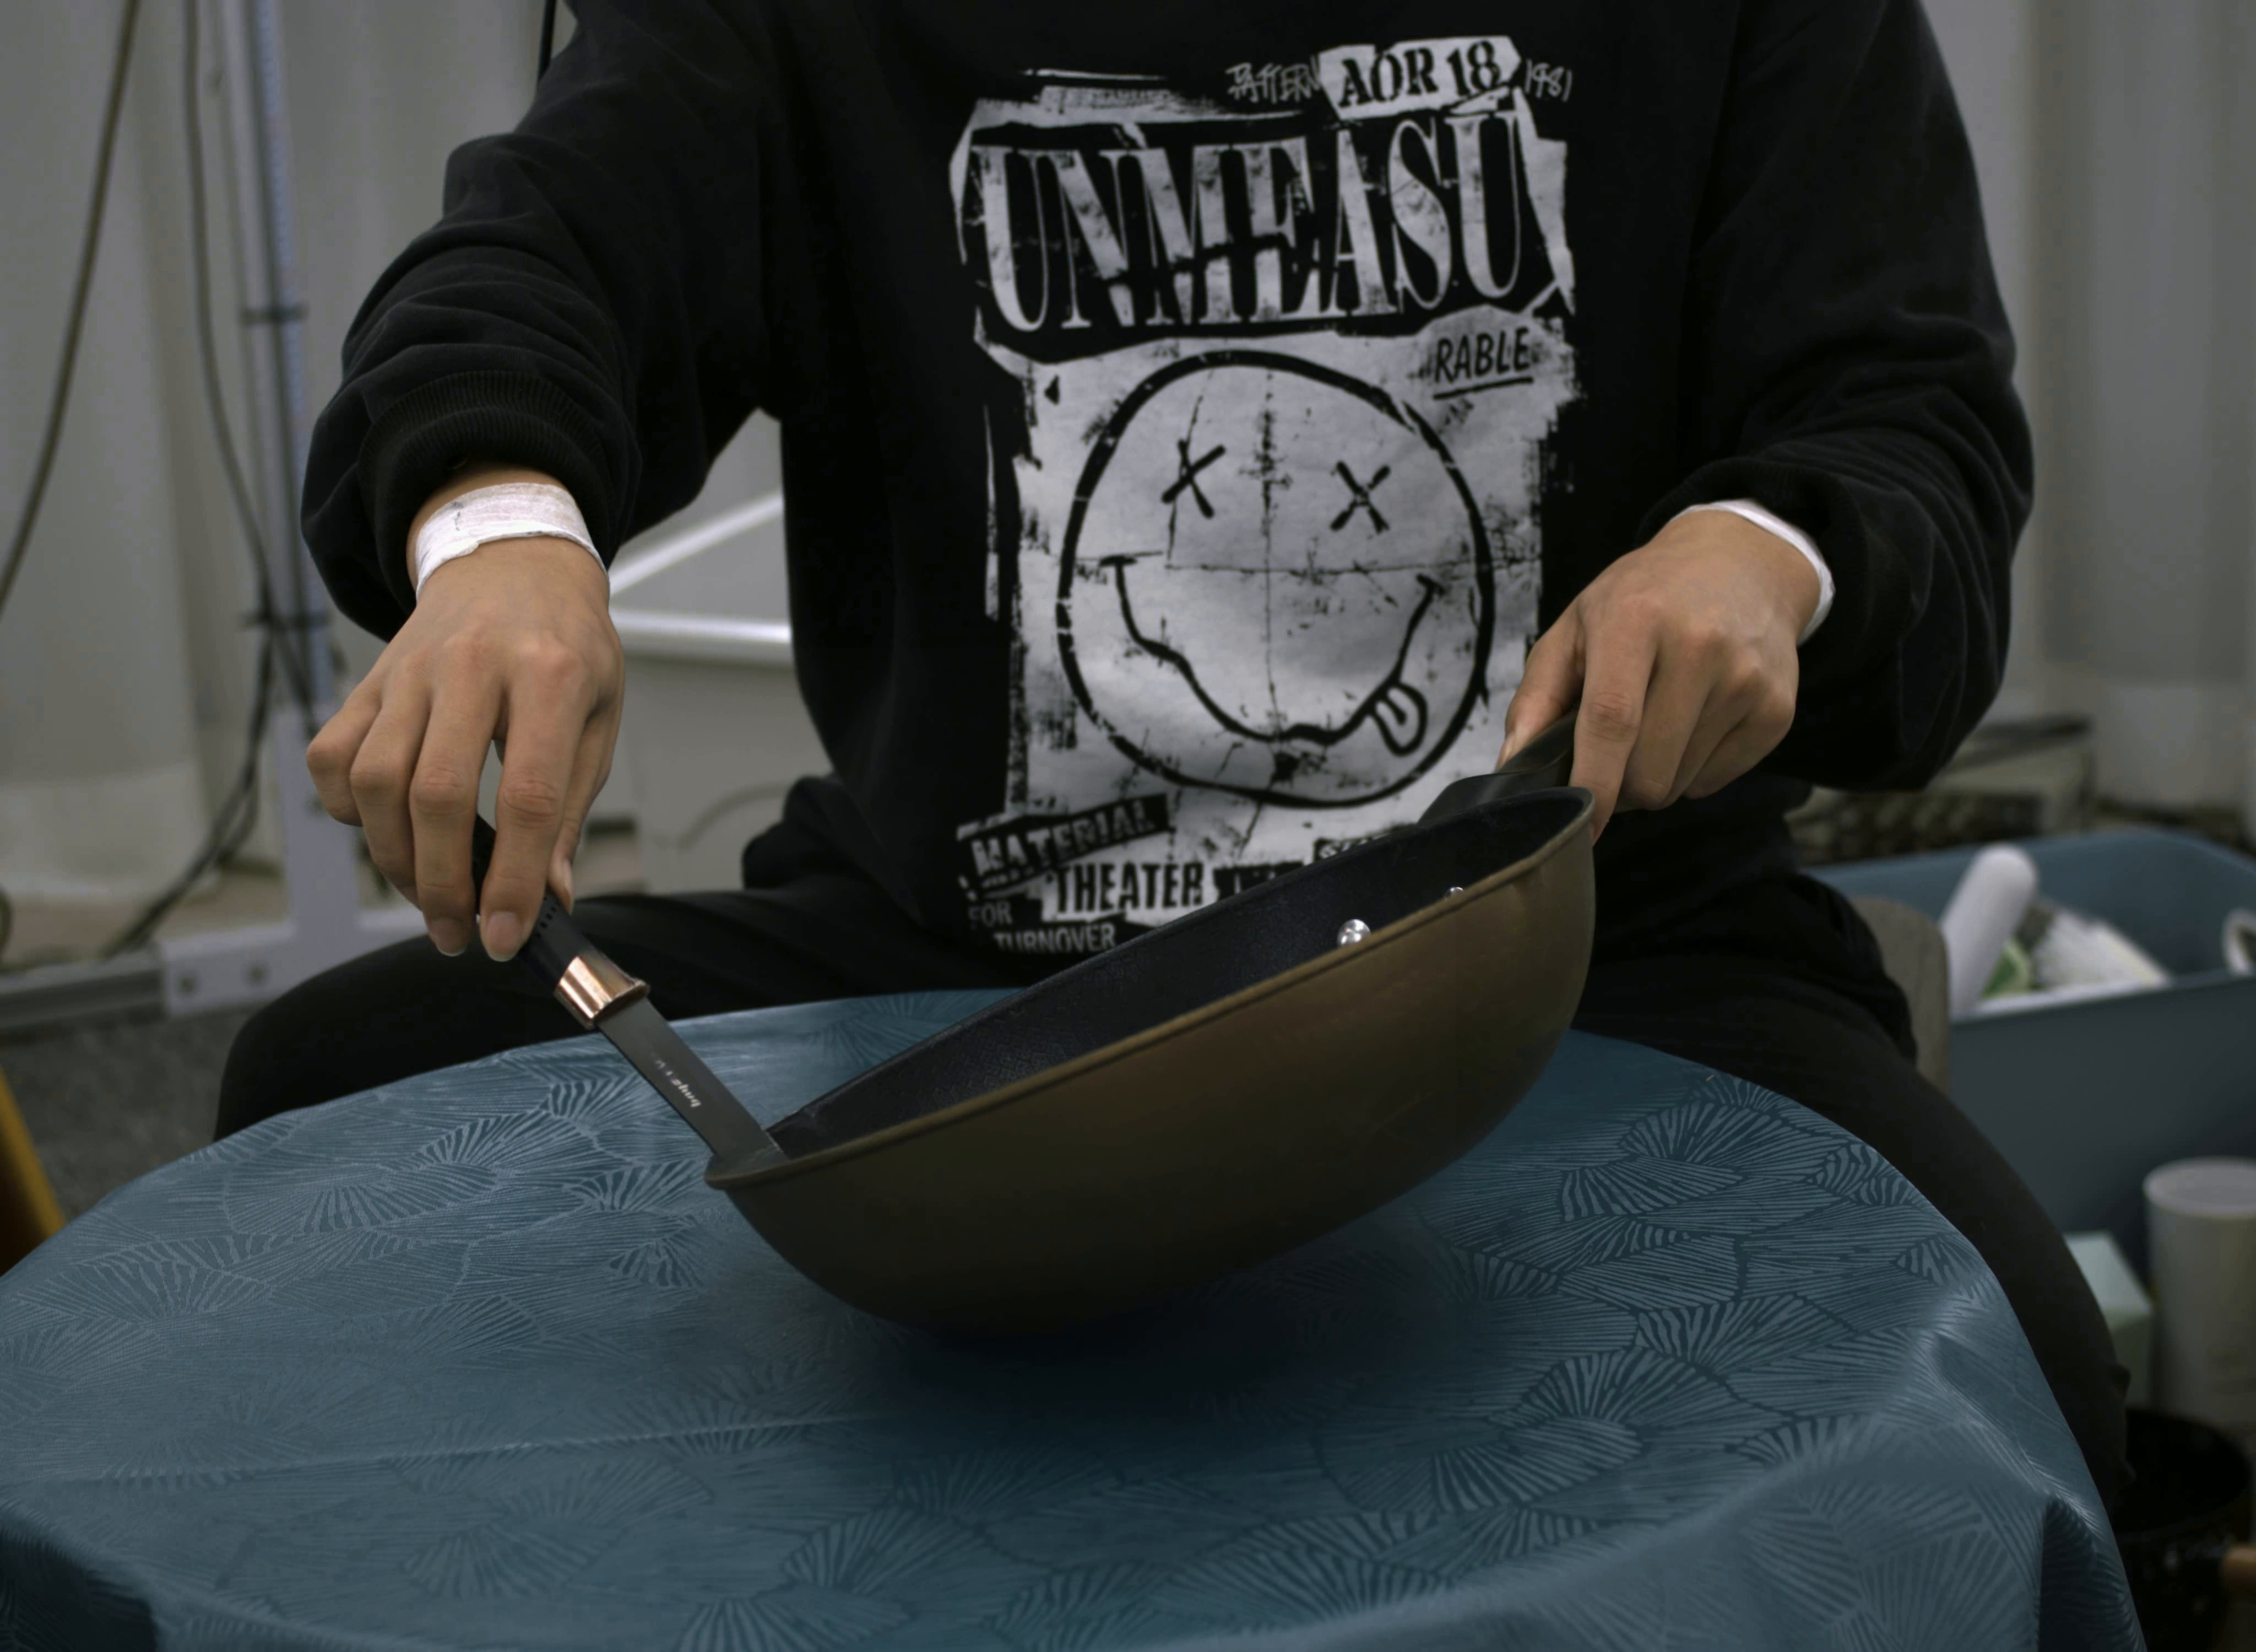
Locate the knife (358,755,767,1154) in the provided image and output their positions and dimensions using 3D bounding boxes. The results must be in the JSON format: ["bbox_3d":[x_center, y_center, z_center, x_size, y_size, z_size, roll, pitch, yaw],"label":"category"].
[{"bbox_3d":[-0.150,0.057,1.625,0.227,0.017,0.026,44,28,16],"label":"knife"}]

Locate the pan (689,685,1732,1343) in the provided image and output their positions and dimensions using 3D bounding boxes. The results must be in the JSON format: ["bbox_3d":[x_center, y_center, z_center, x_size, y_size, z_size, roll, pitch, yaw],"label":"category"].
[{"bbox_3d":[0.069,0.055,1.652,0.287,0.087,0.464,-20,4,39],"label":"pan"}]
